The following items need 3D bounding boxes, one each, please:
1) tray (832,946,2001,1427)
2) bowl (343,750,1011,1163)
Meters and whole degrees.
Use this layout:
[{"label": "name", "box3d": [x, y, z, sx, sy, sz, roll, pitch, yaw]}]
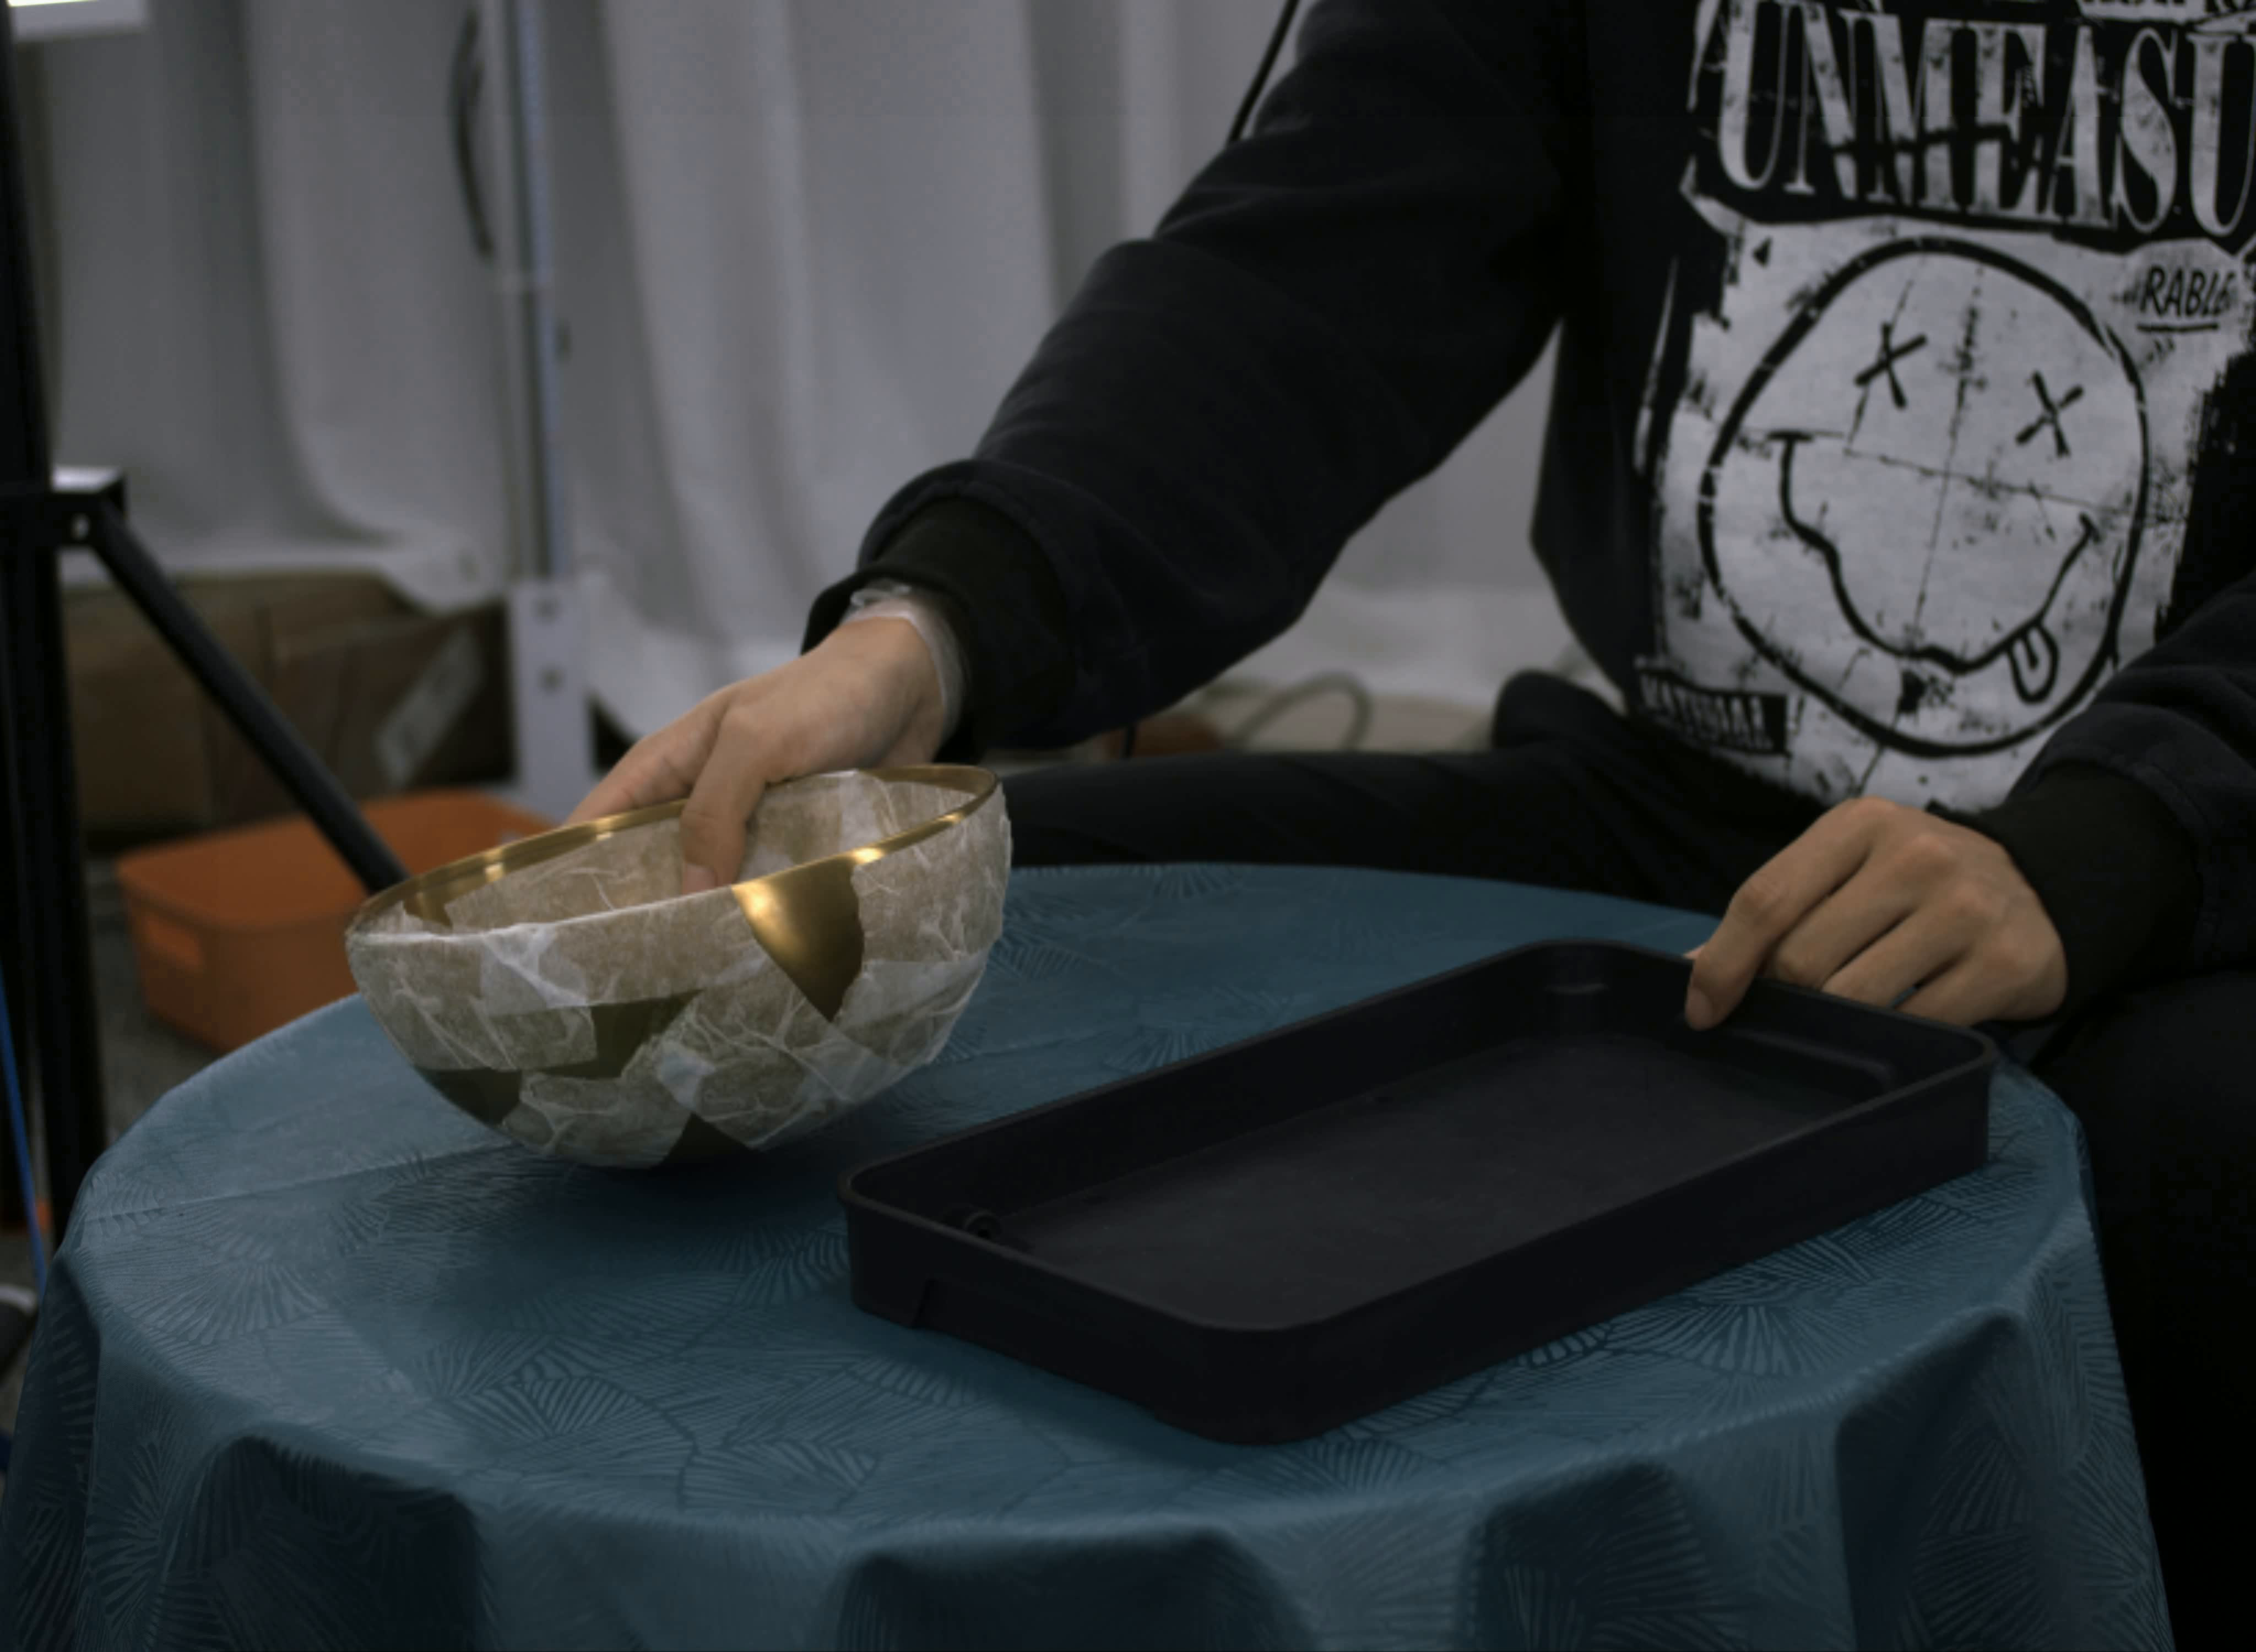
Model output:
[{"label": "tray", "box3d": [0.087, 0.097, 1.512, 0.310, 0.037, 0.188, -14, 18, -38]}, {"label": "bowl", "box3d": [-0.123, 0.047, 1.595, 0.214, 0.094, 0.215, -13, 8, 0]}]
